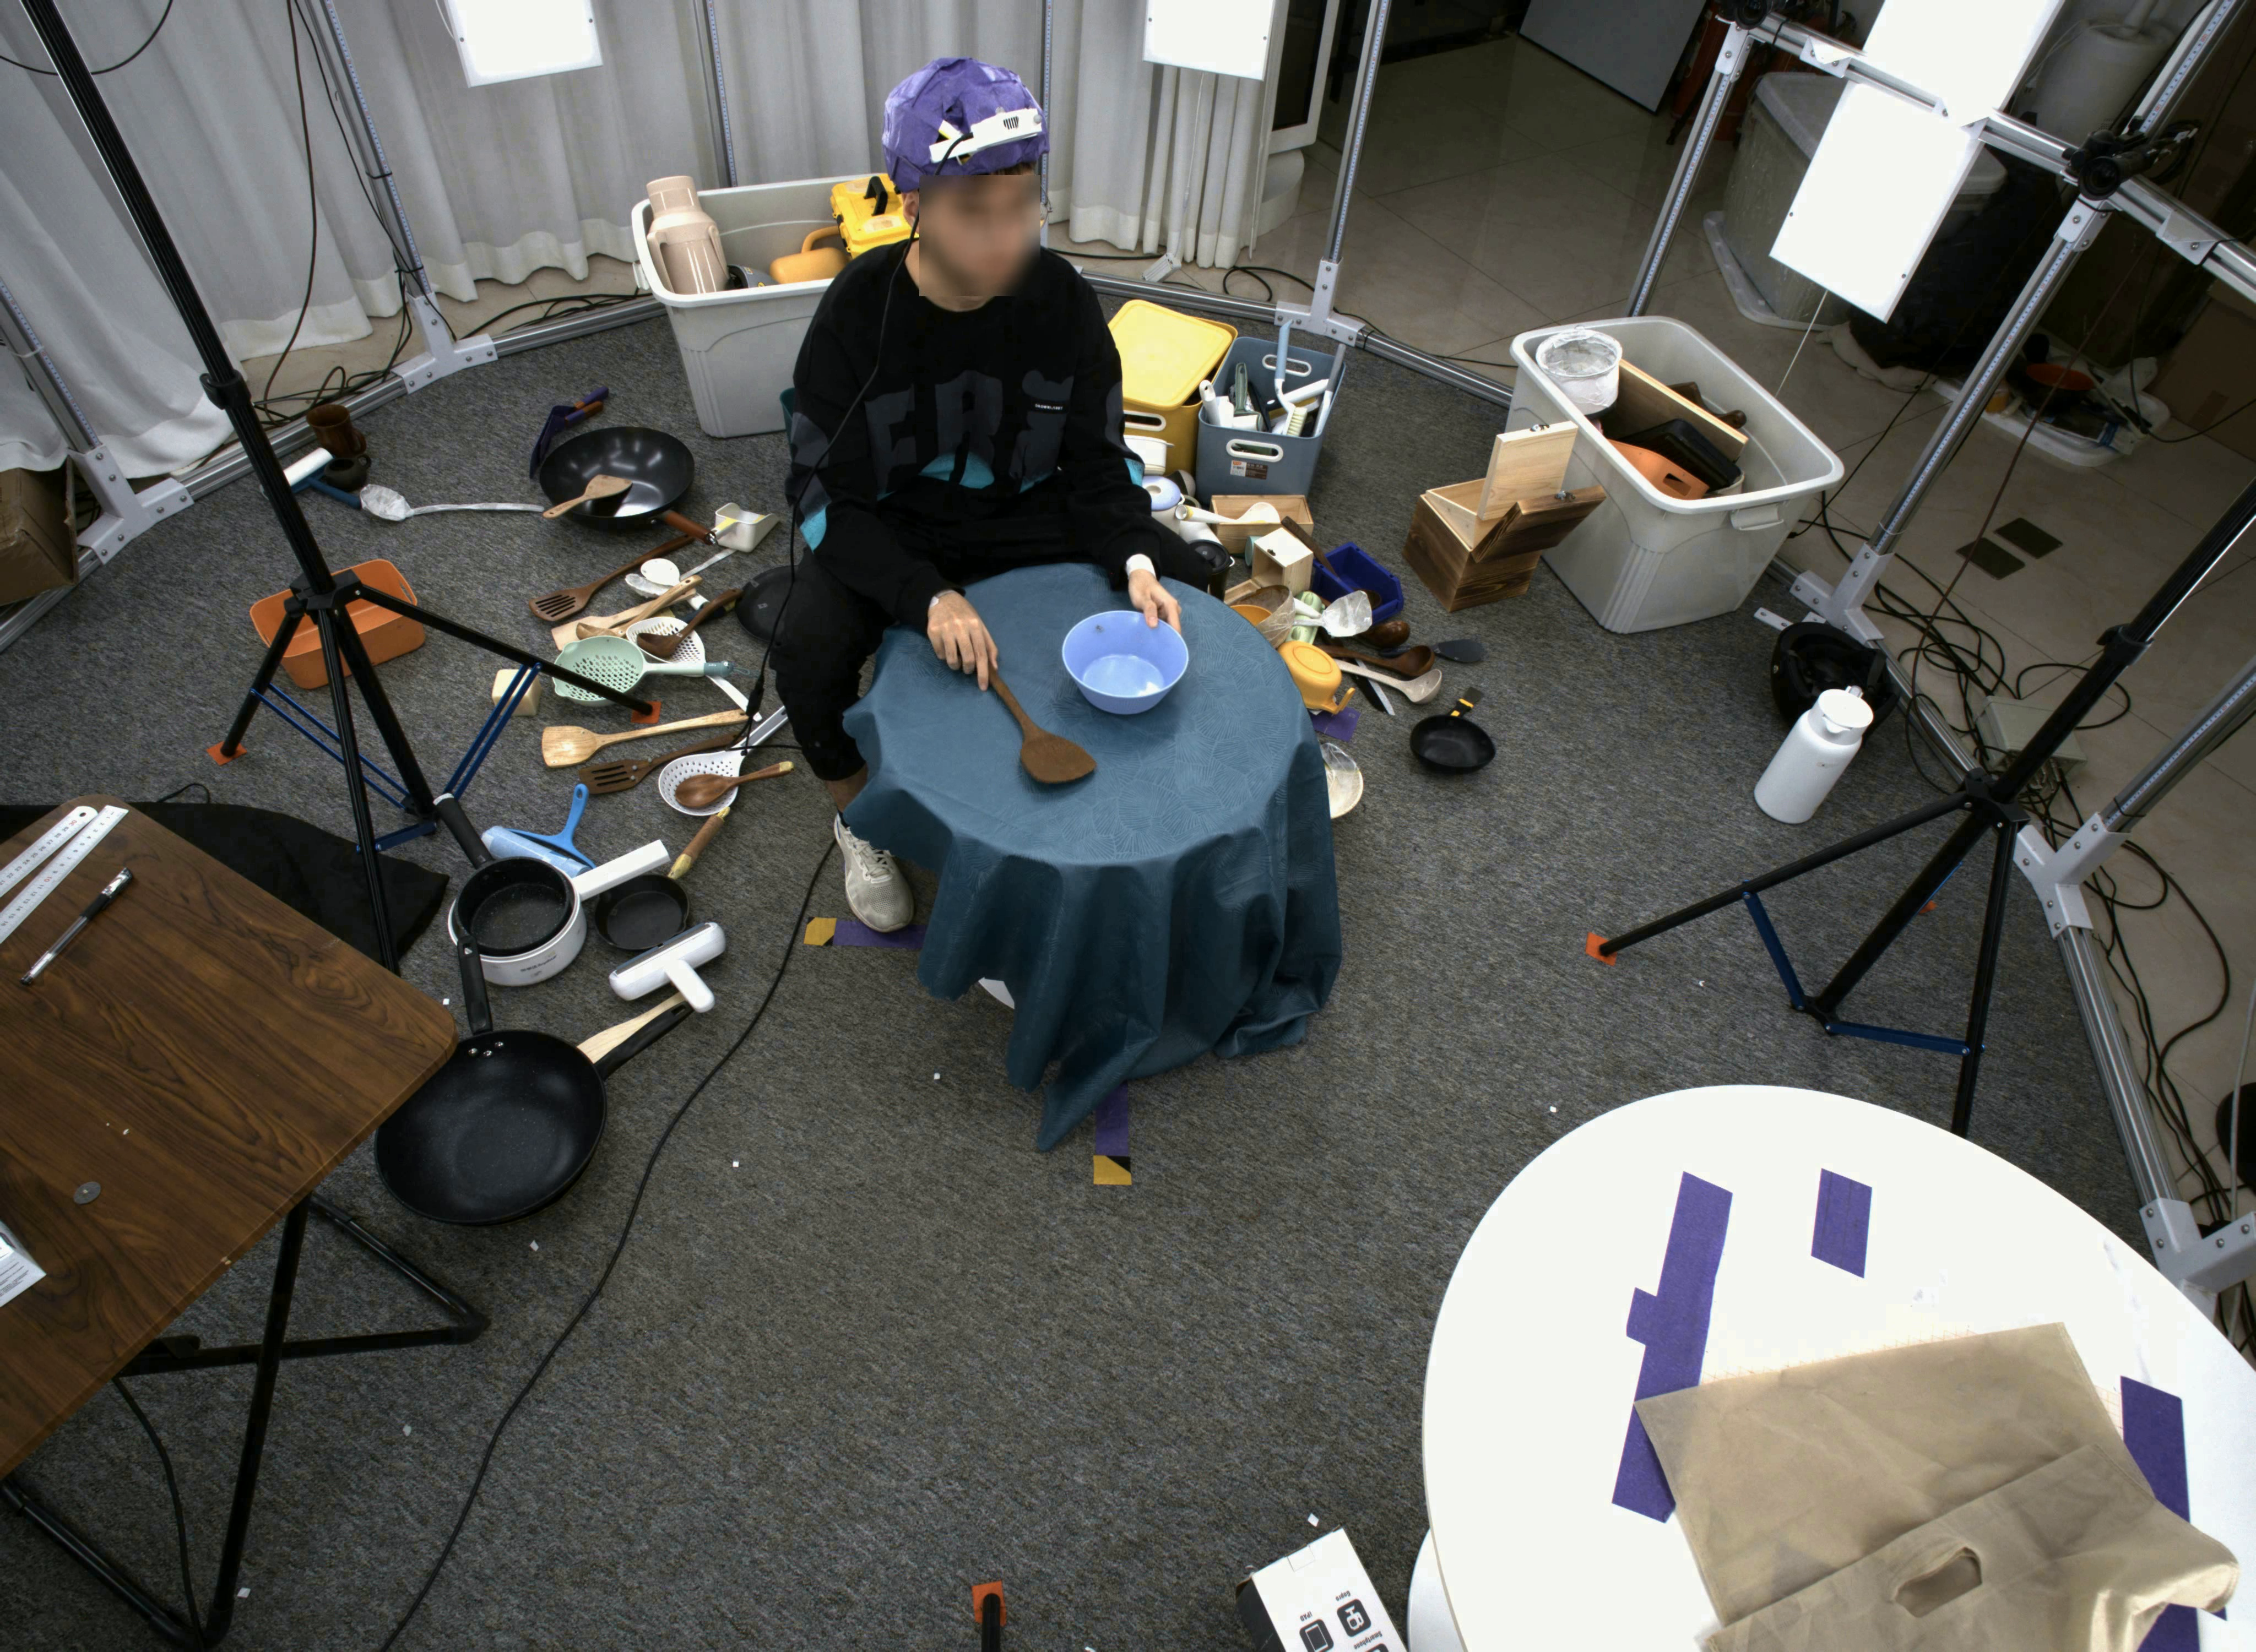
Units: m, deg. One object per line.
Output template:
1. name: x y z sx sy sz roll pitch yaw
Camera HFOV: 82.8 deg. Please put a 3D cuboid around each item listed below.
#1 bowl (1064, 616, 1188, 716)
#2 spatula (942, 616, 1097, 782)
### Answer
1. bowl: -0.004 -0.219 1.830 0.176 0.068 0.180 2 48 -2
2. spatula: -0.172 -0.188 1.820 0.096 0.015 0.394 -13 48 -32
